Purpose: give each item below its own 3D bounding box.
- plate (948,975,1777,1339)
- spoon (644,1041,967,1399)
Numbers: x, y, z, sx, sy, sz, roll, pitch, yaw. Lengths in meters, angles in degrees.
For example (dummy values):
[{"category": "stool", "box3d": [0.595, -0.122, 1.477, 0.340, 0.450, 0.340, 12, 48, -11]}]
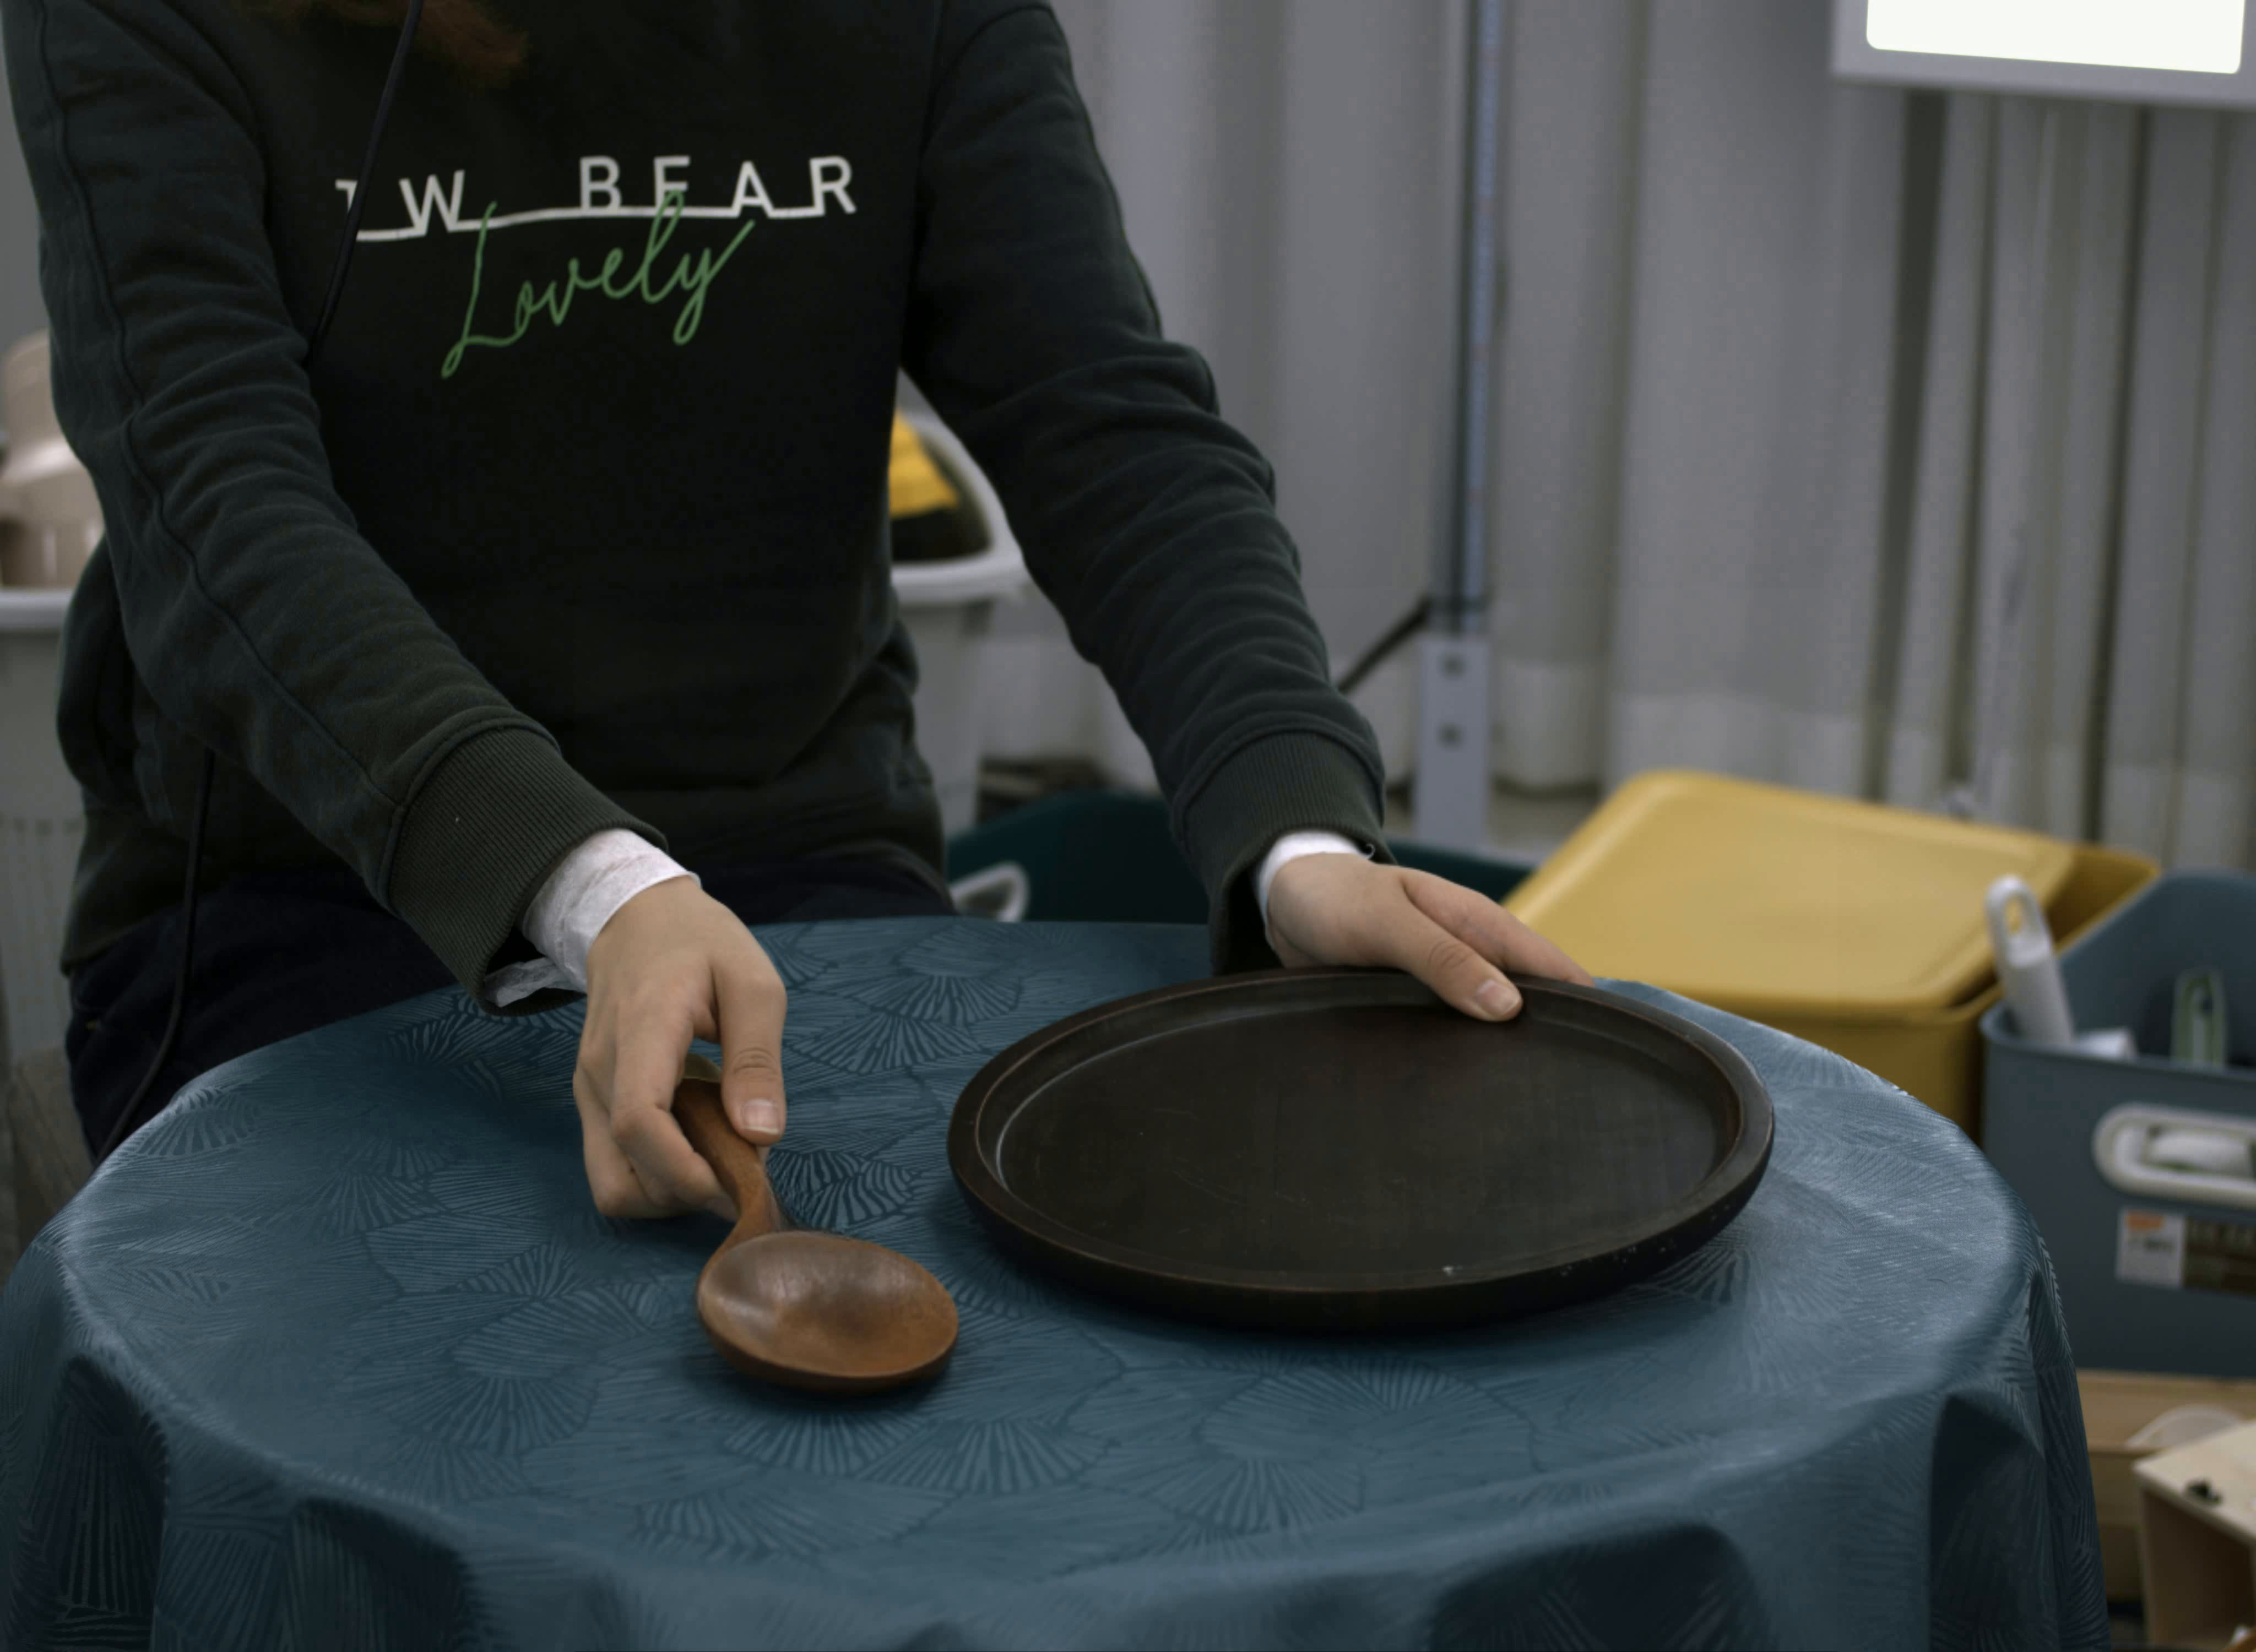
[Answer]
[{"category": "plate", "box3d": [0.071, 0.098, 1.607, 0.254, 0.029, 0.253, 0, 21, 1]}, {"category": "spoon", "box3d": [-0.105, 0.115, 1.538, 0.076, 0.017, 0.213, -3, 25, -20]}]
